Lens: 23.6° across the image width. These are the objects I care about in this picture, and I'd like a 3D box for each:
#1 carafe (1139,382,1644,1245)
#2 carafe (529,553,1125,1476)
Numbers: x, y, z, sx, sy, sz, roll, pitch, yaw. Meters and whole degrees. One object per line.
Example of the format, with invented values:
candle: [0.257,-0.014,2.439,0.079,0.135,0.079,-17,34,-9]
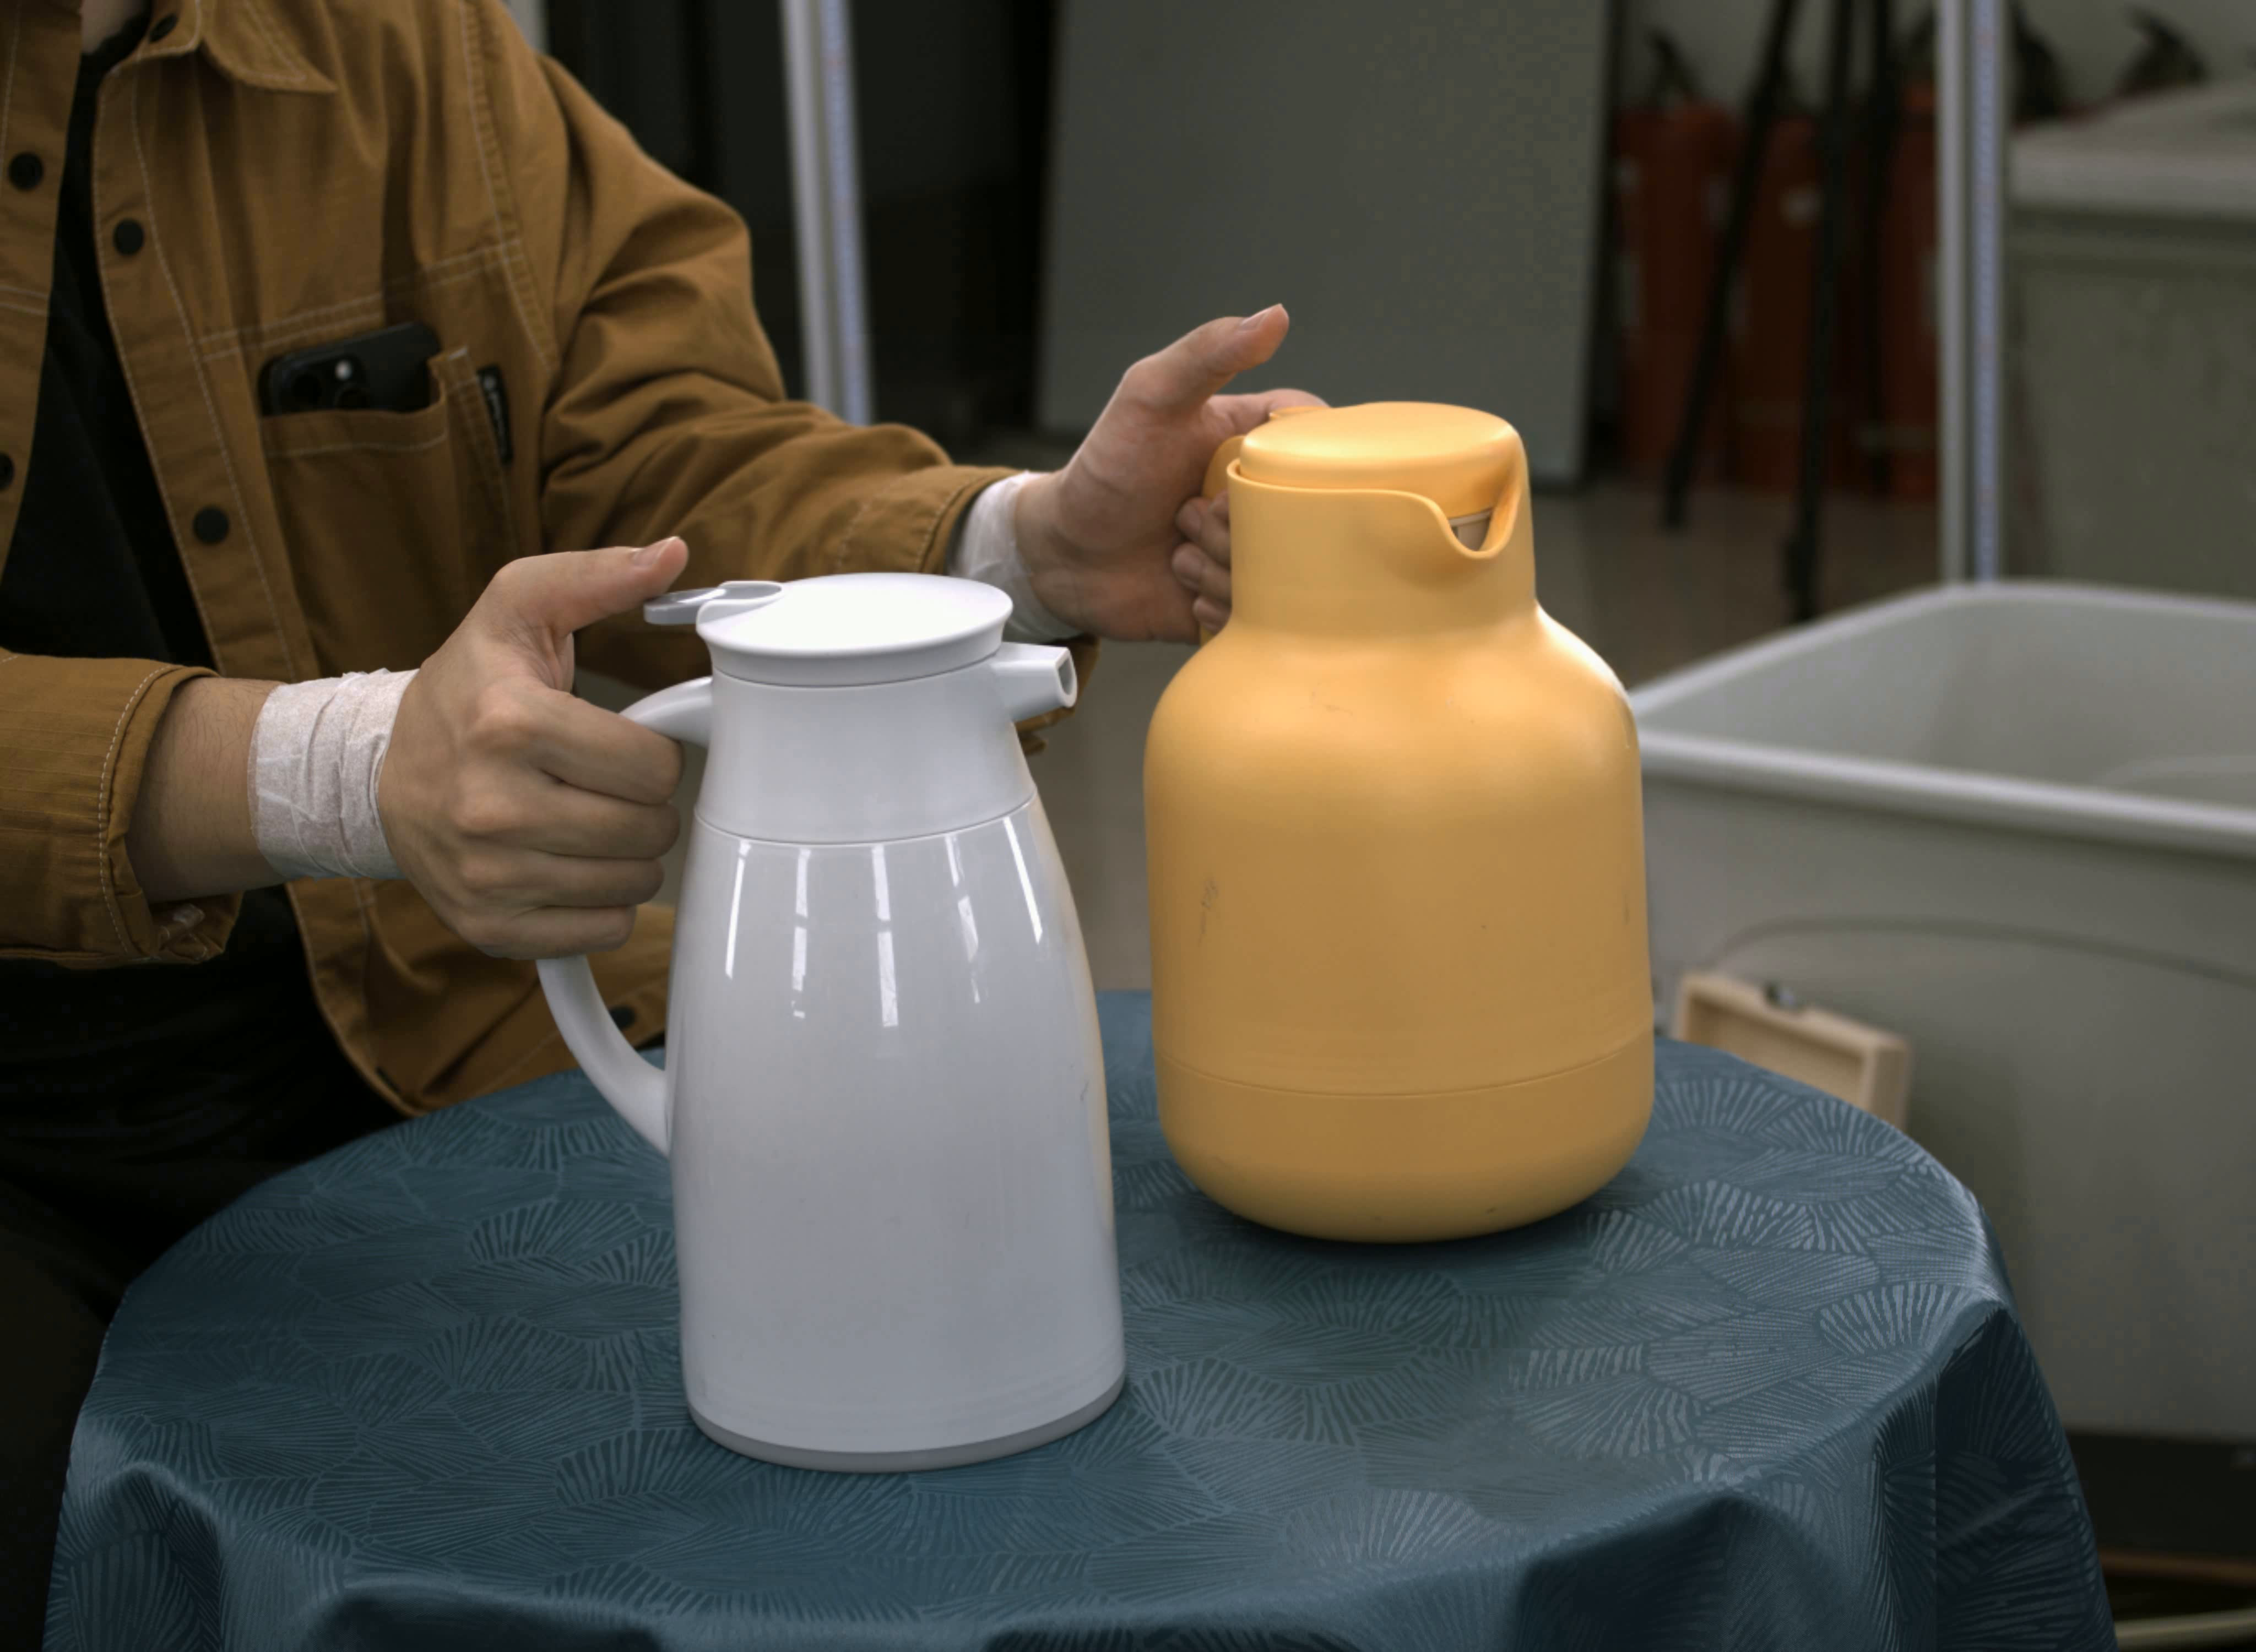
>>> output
carafe: [0.077,-0.012,1.741,0.160,0.263,0.204,-7,15,-19]
carafe: [-0.091,0.048,1.571,0.167,0.251,0.132,-1,15,13]
